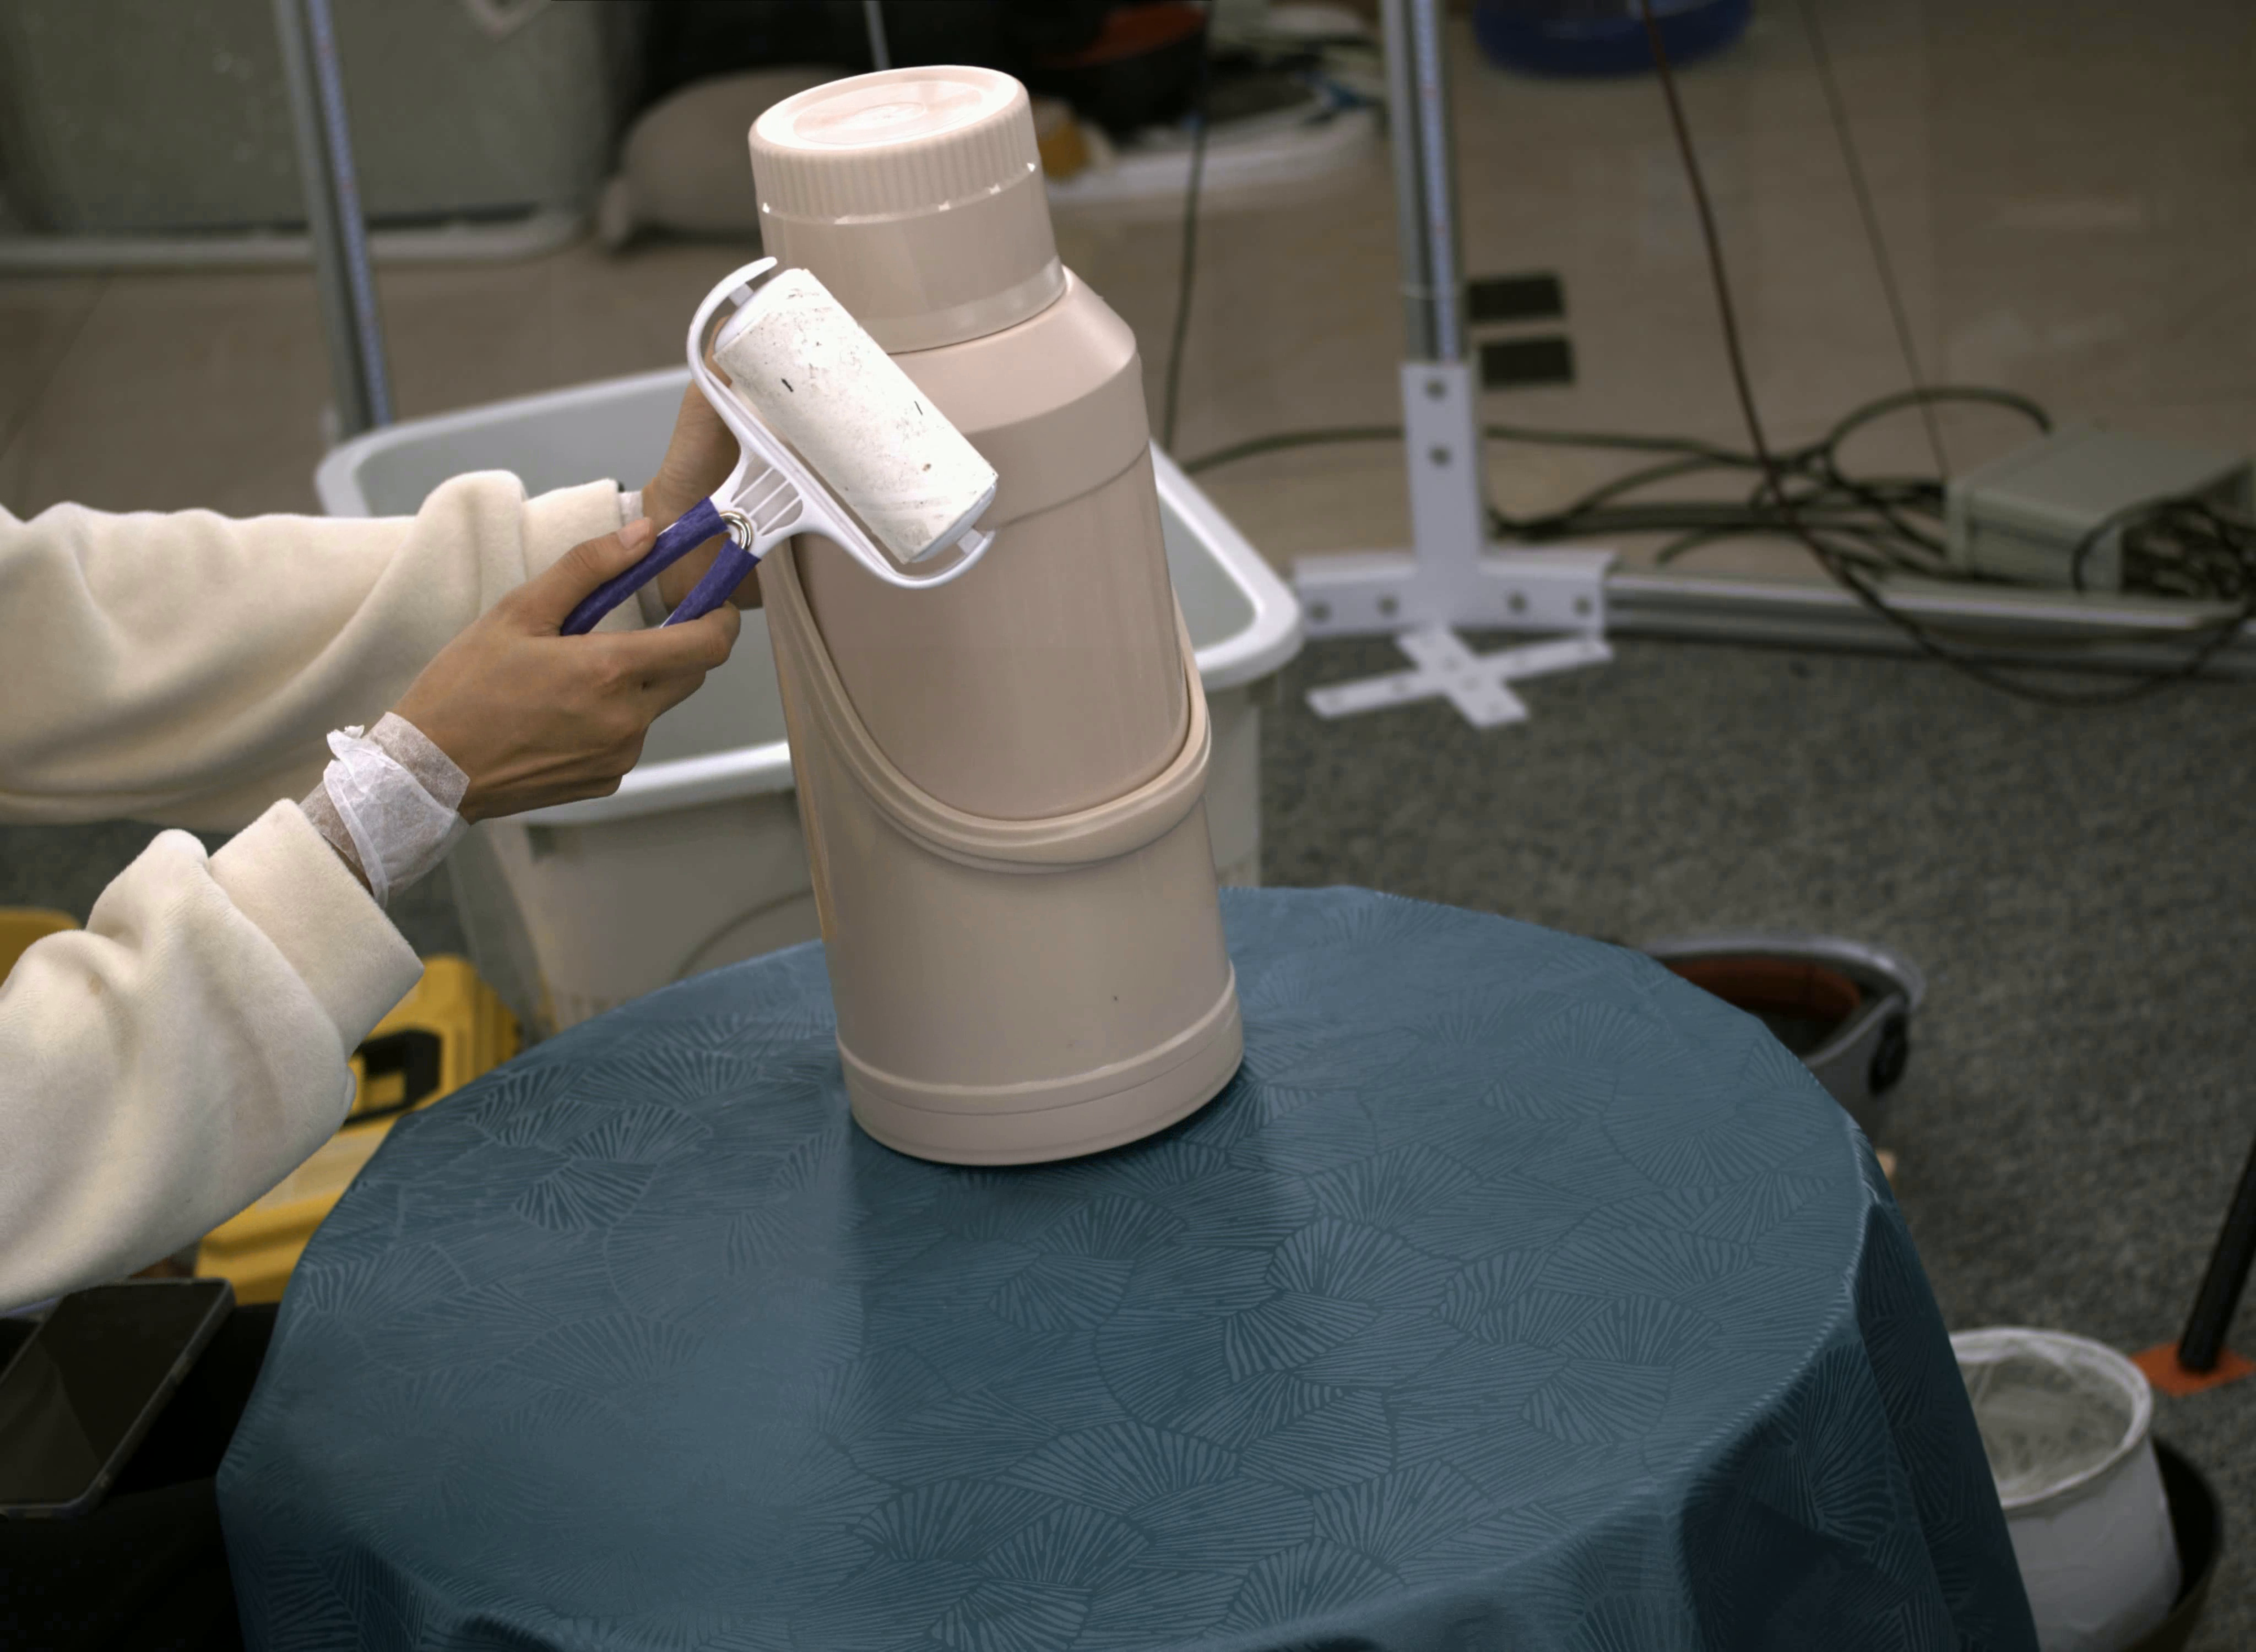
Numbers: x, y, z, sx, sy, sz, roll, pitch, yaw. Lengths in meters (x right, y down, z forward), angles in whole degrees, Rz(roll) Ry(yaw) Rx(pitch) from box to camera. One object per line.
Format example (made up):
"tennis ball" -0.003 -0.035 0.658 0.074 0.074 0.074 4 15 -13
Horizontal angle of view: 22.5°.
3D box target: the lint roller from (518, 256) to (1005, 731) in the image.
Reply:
"lint roller" -0.145 -0.100 1.971 0.180 0.133 0.050 -42 10 -5

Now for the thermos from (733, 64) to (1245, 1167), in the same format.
"thermos" -0.066 -0.085 2.163 0.174 0.413 0.205 -26 30 -32
